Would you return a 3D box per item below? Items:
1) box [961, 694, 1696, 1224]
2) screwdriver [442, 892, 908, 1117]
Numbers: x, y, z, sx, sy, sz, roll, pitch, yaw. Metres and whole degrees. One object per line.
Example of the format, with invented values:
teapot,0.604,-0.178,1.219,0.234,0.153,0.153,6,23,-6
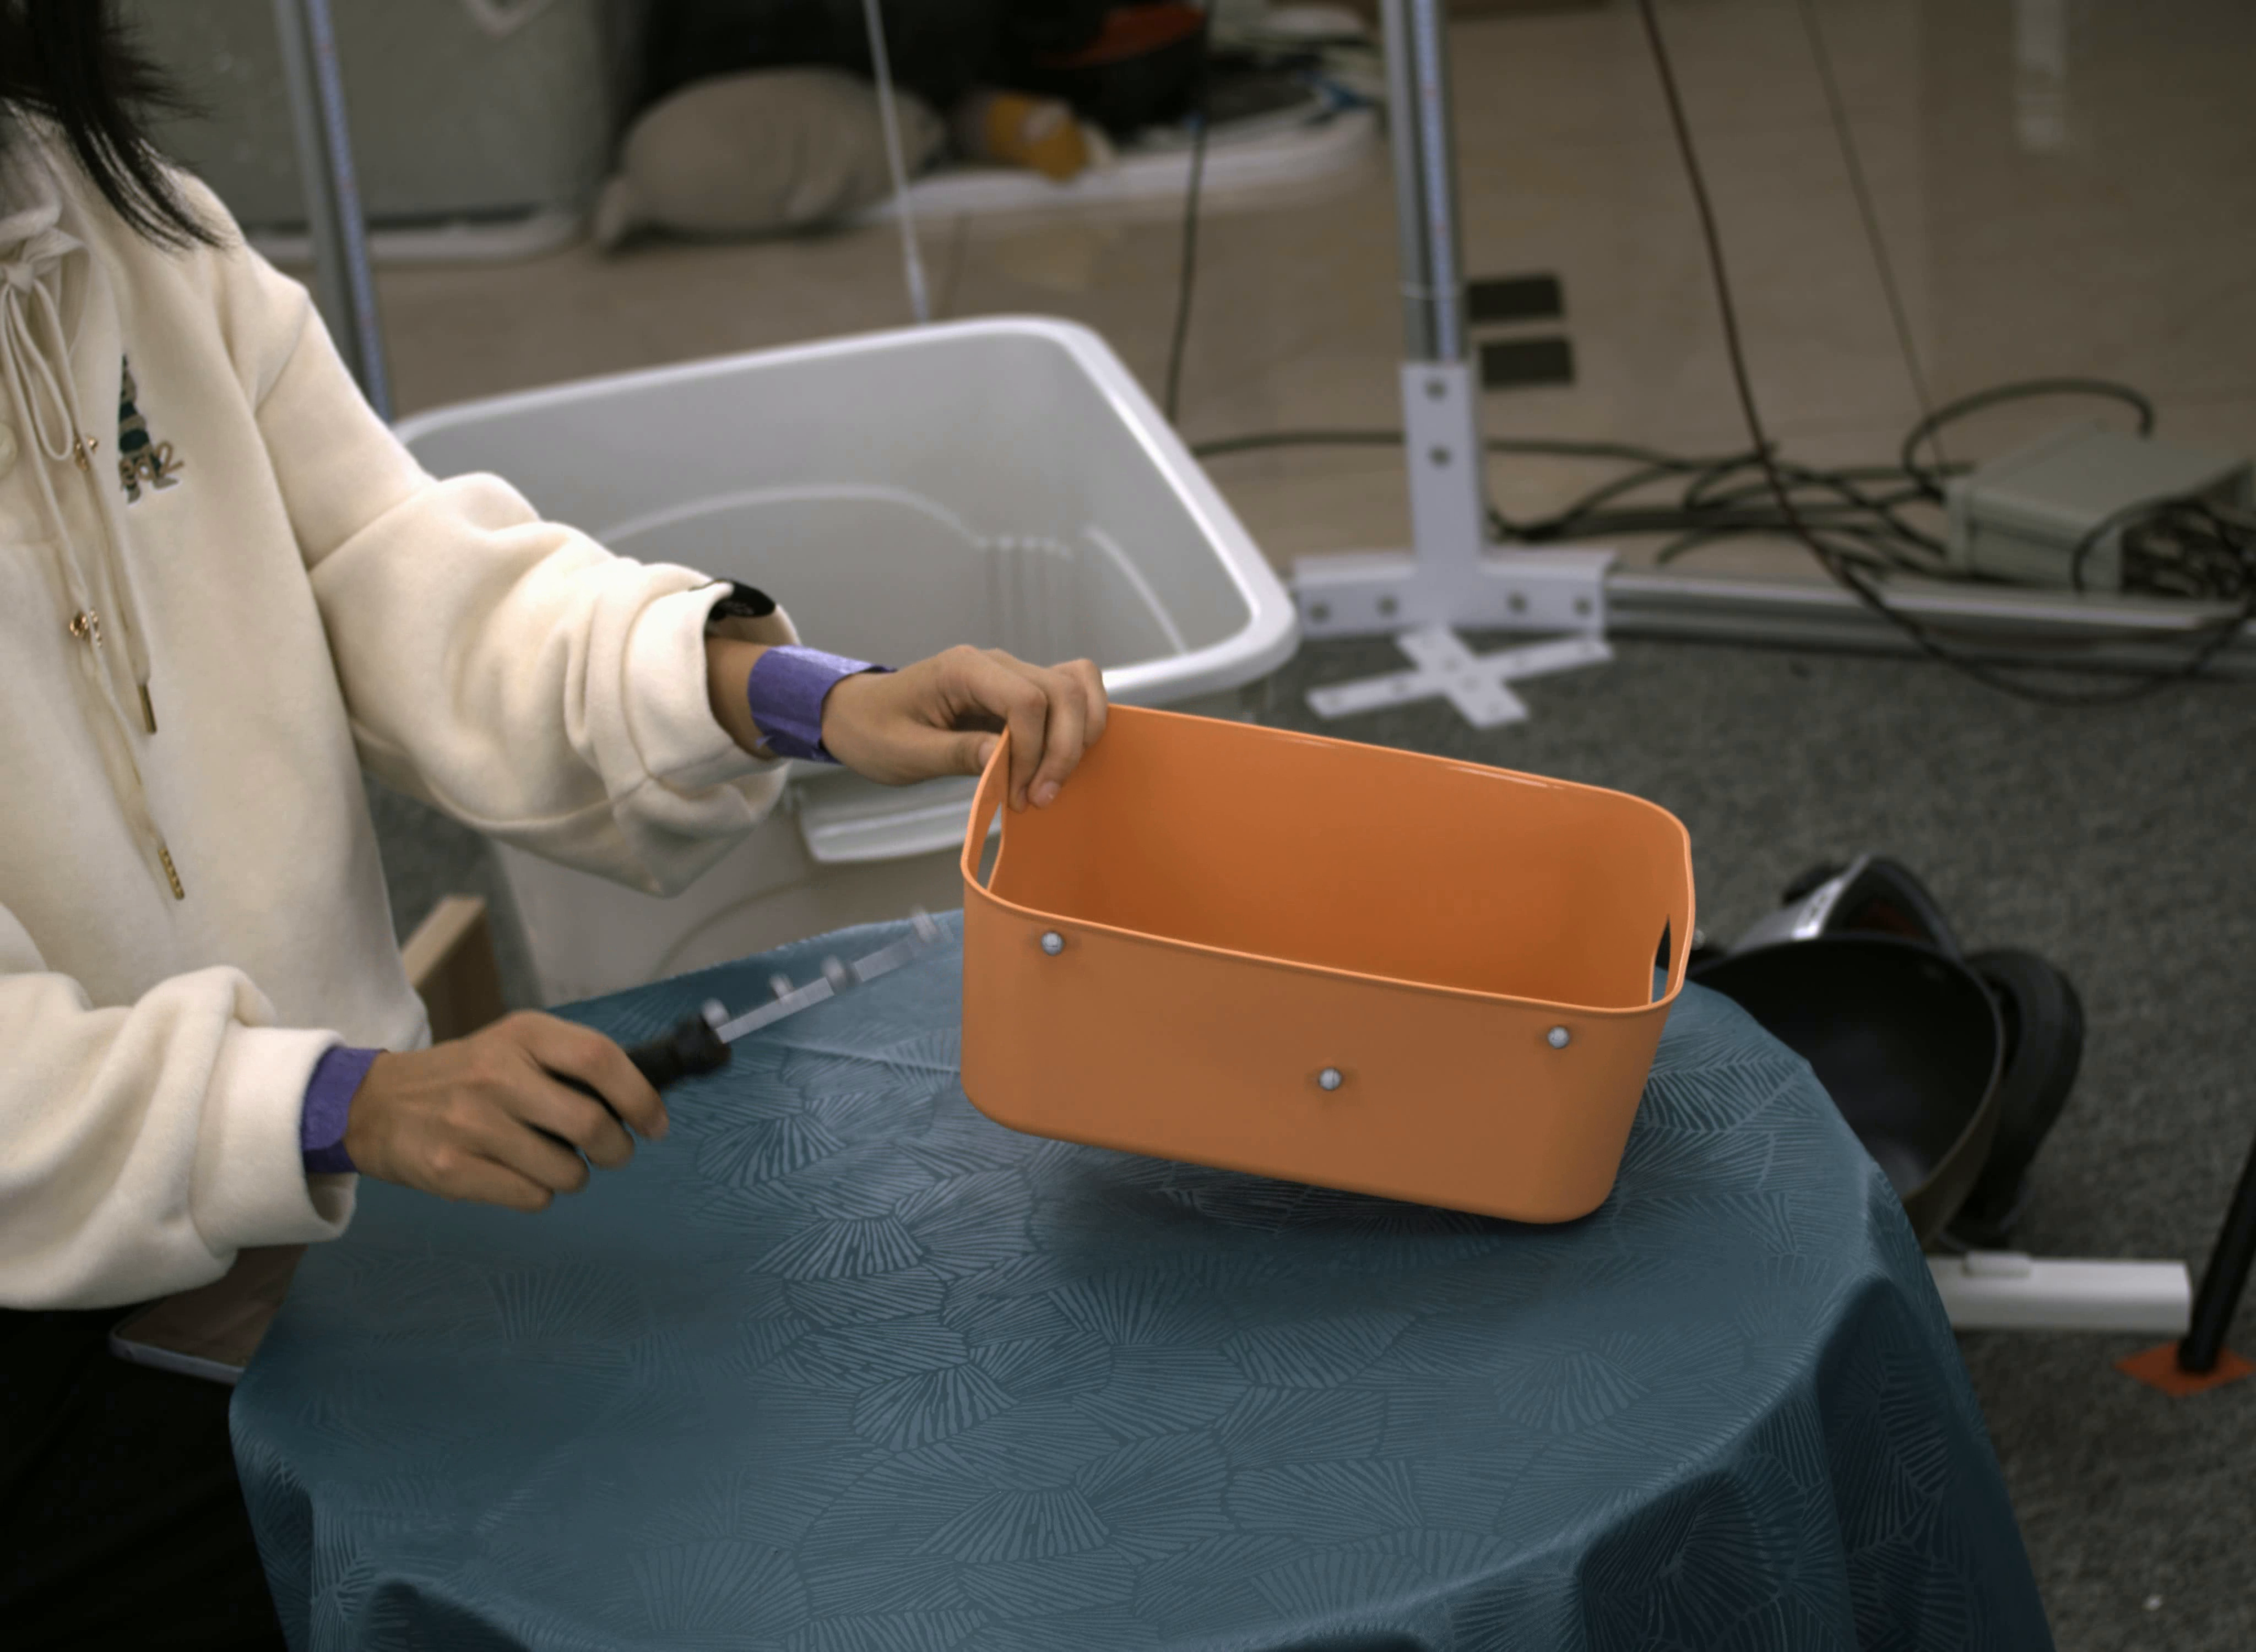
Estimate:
box,0.070,0.051,2.137,0.273,0.104,0.196,10,27,2
screwdriver,-0.160,0.061,2.018,0.198,0.032,0.031,-22,20,20
